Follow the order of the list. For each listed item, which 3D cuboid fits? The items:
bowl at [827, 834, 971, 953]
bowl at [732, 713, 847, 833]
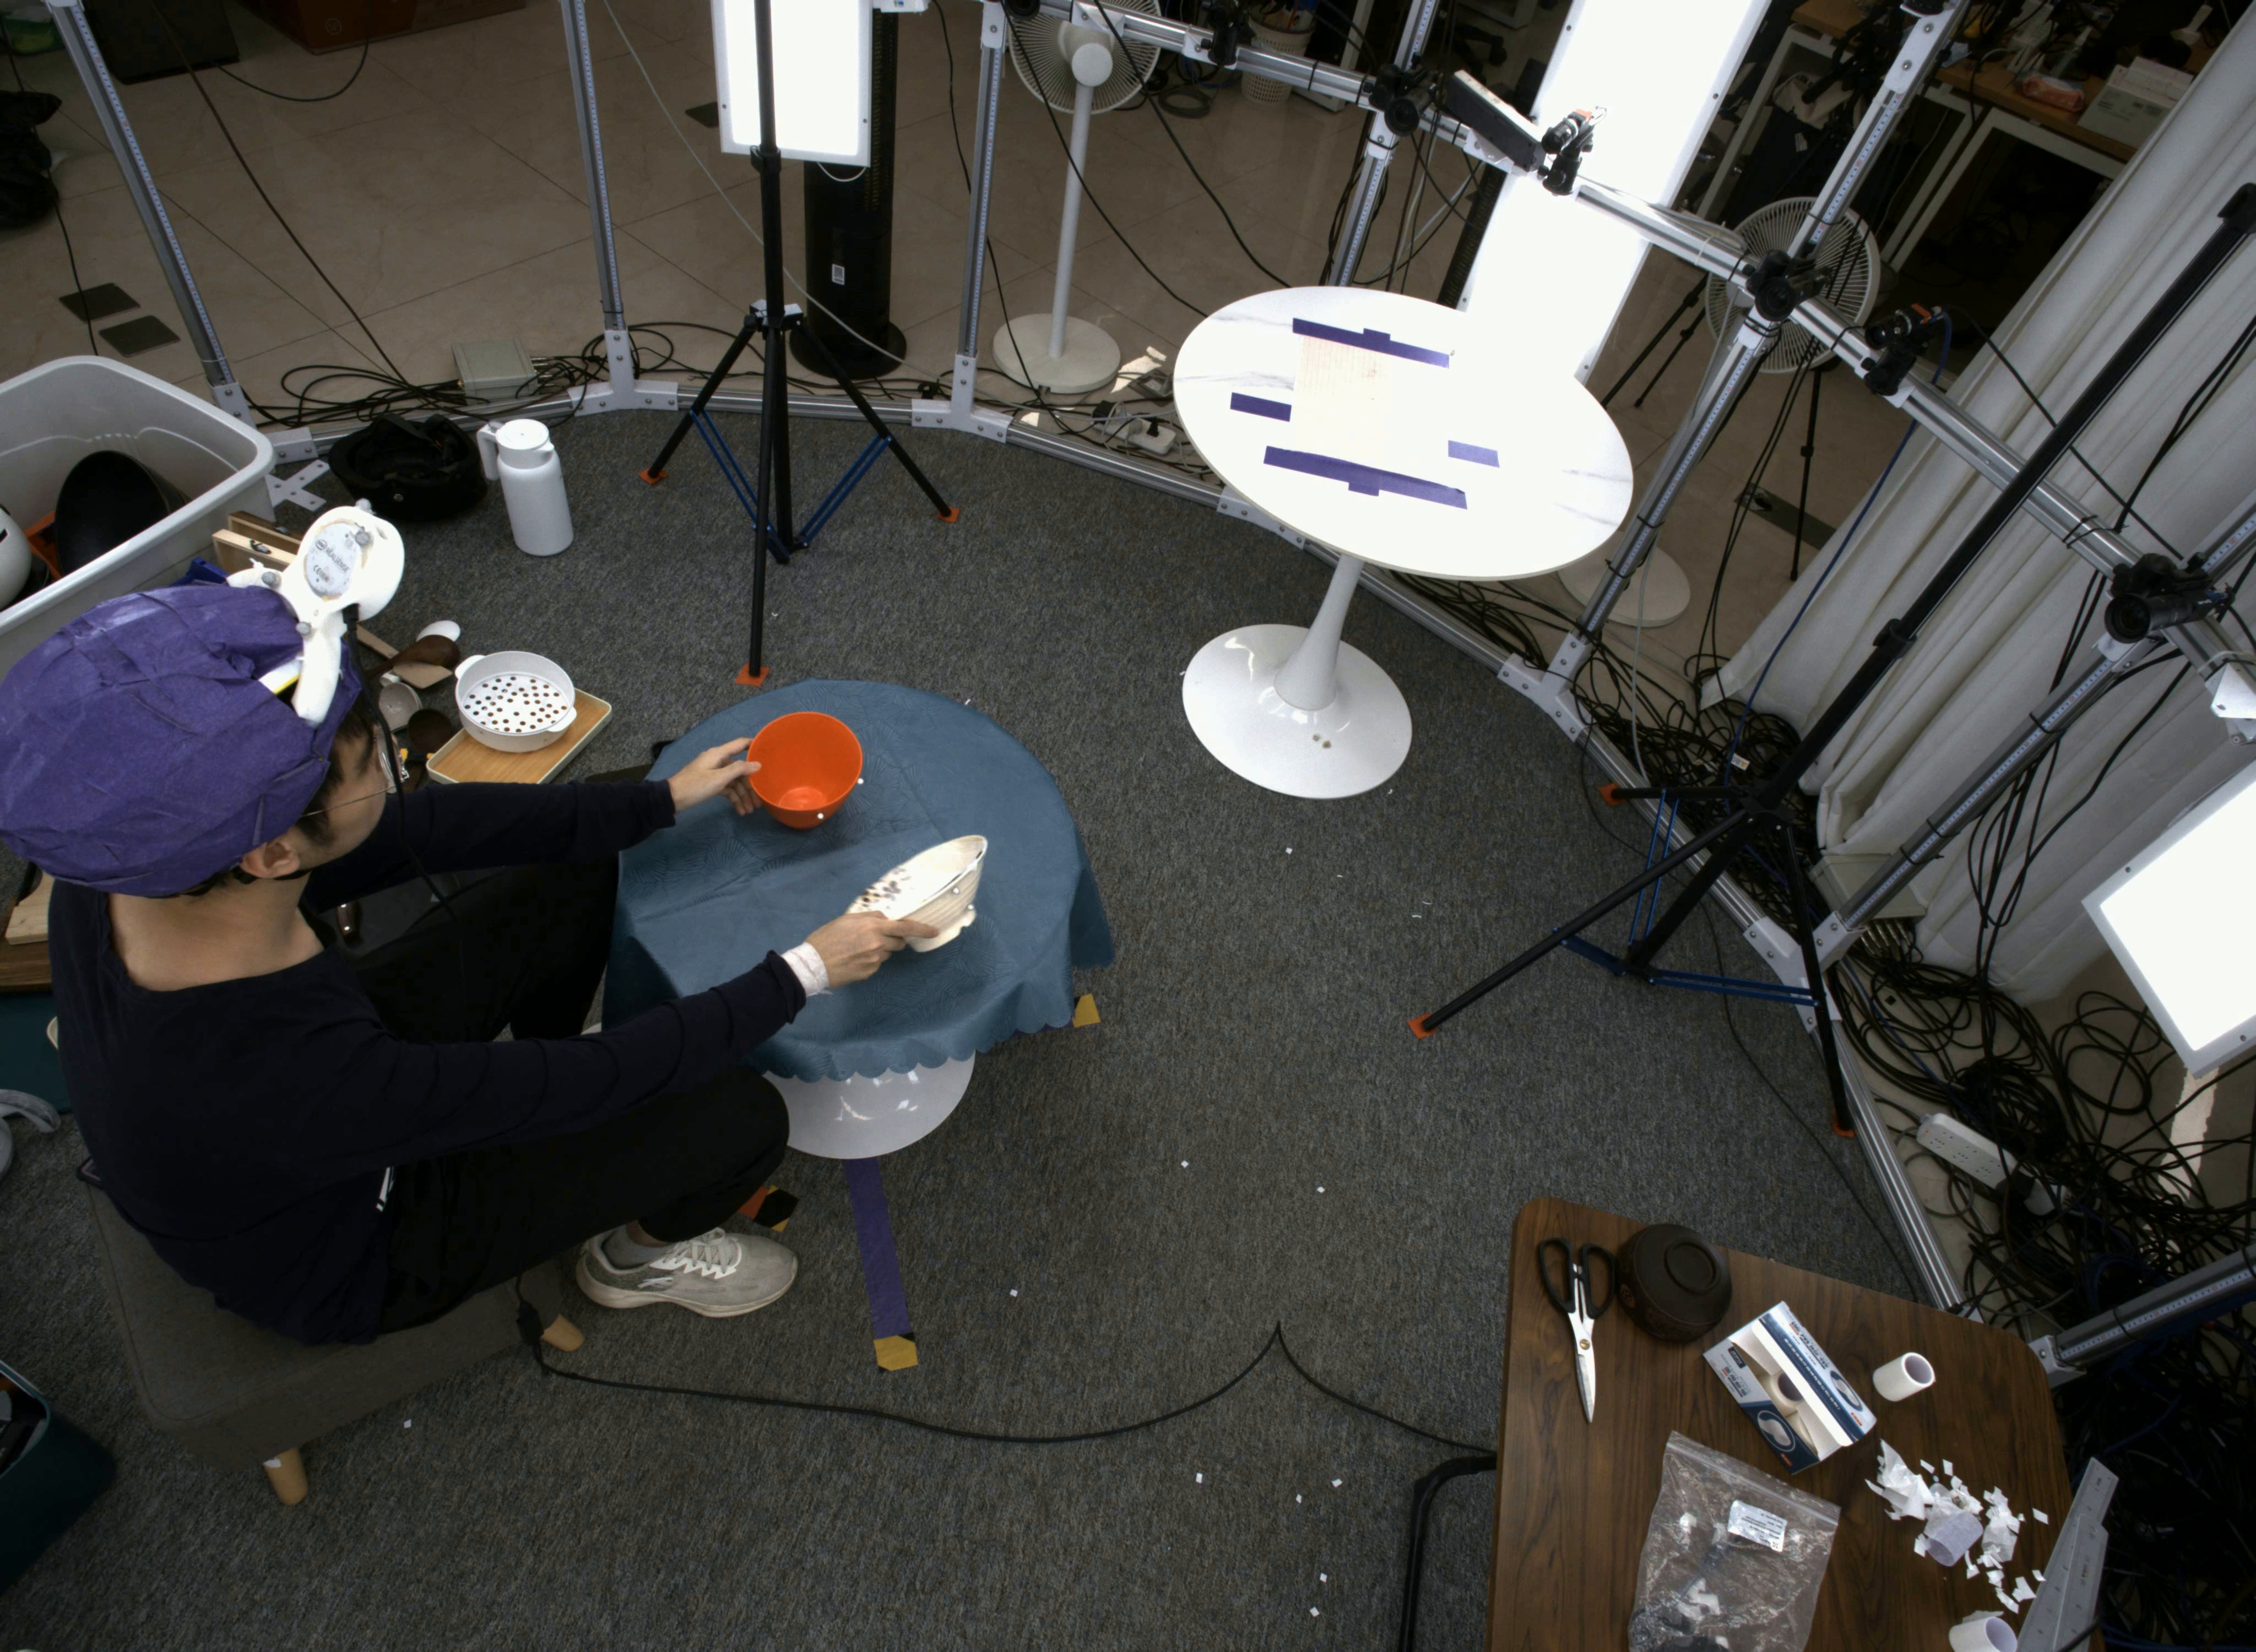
[{"bbox_3d":[-0.264,0.096,1.601,0.204,0.198,0.080,-44,114,-35],"label":"bowl"},{"bbox_3d":[-0.444,-0.058,1.708,0.147,0.107,0.145,7,54,-8],"label":"bowl"}]
